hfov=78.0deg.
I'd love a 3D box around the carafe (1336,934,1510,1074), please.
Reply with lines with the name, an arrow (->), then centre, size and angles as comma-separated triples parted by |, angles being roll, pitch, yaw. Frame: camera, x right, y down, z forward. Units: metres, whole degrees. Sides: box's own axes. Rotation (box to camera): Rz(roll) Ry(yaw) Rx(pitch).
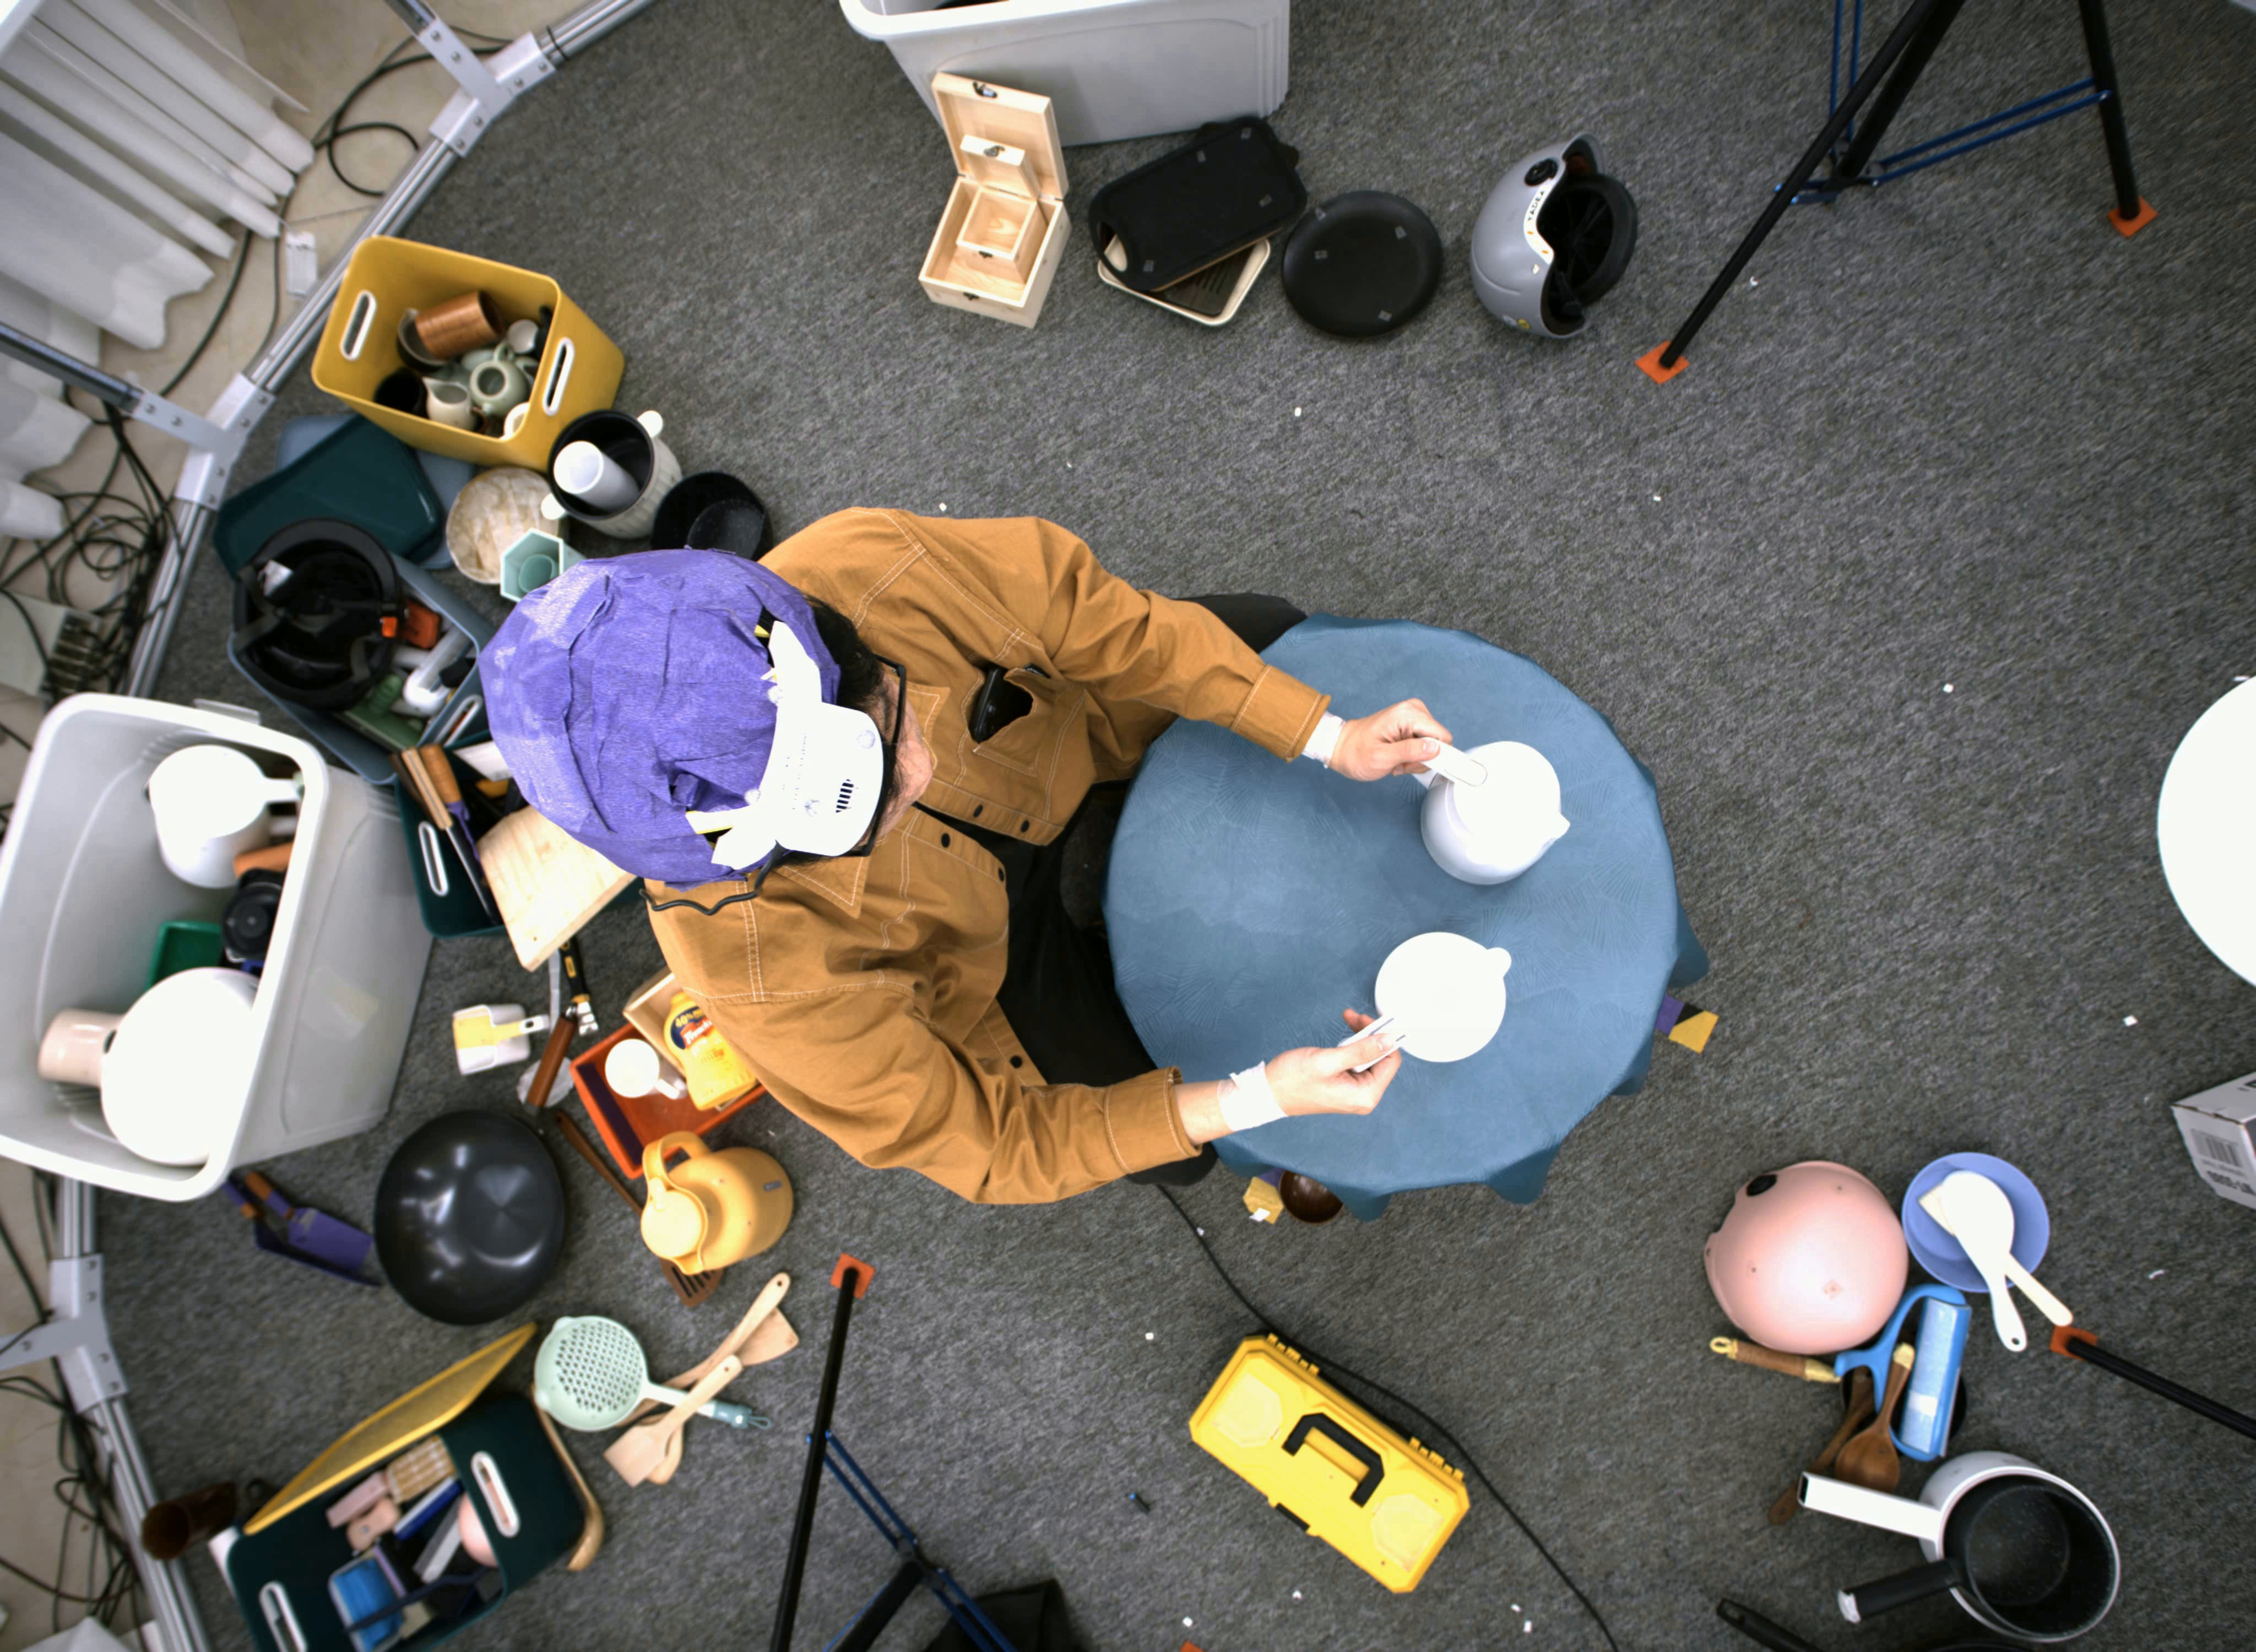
carafe -> 0.280, 0.173, 1.319 | 0.174, 0.269, 0.123 | -35, 82, 6

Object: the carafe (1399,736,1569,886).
carafe -> 0.337, -0.027, 1.327 | 0.167, 0.249, 0.133 | 33, 91, 12
